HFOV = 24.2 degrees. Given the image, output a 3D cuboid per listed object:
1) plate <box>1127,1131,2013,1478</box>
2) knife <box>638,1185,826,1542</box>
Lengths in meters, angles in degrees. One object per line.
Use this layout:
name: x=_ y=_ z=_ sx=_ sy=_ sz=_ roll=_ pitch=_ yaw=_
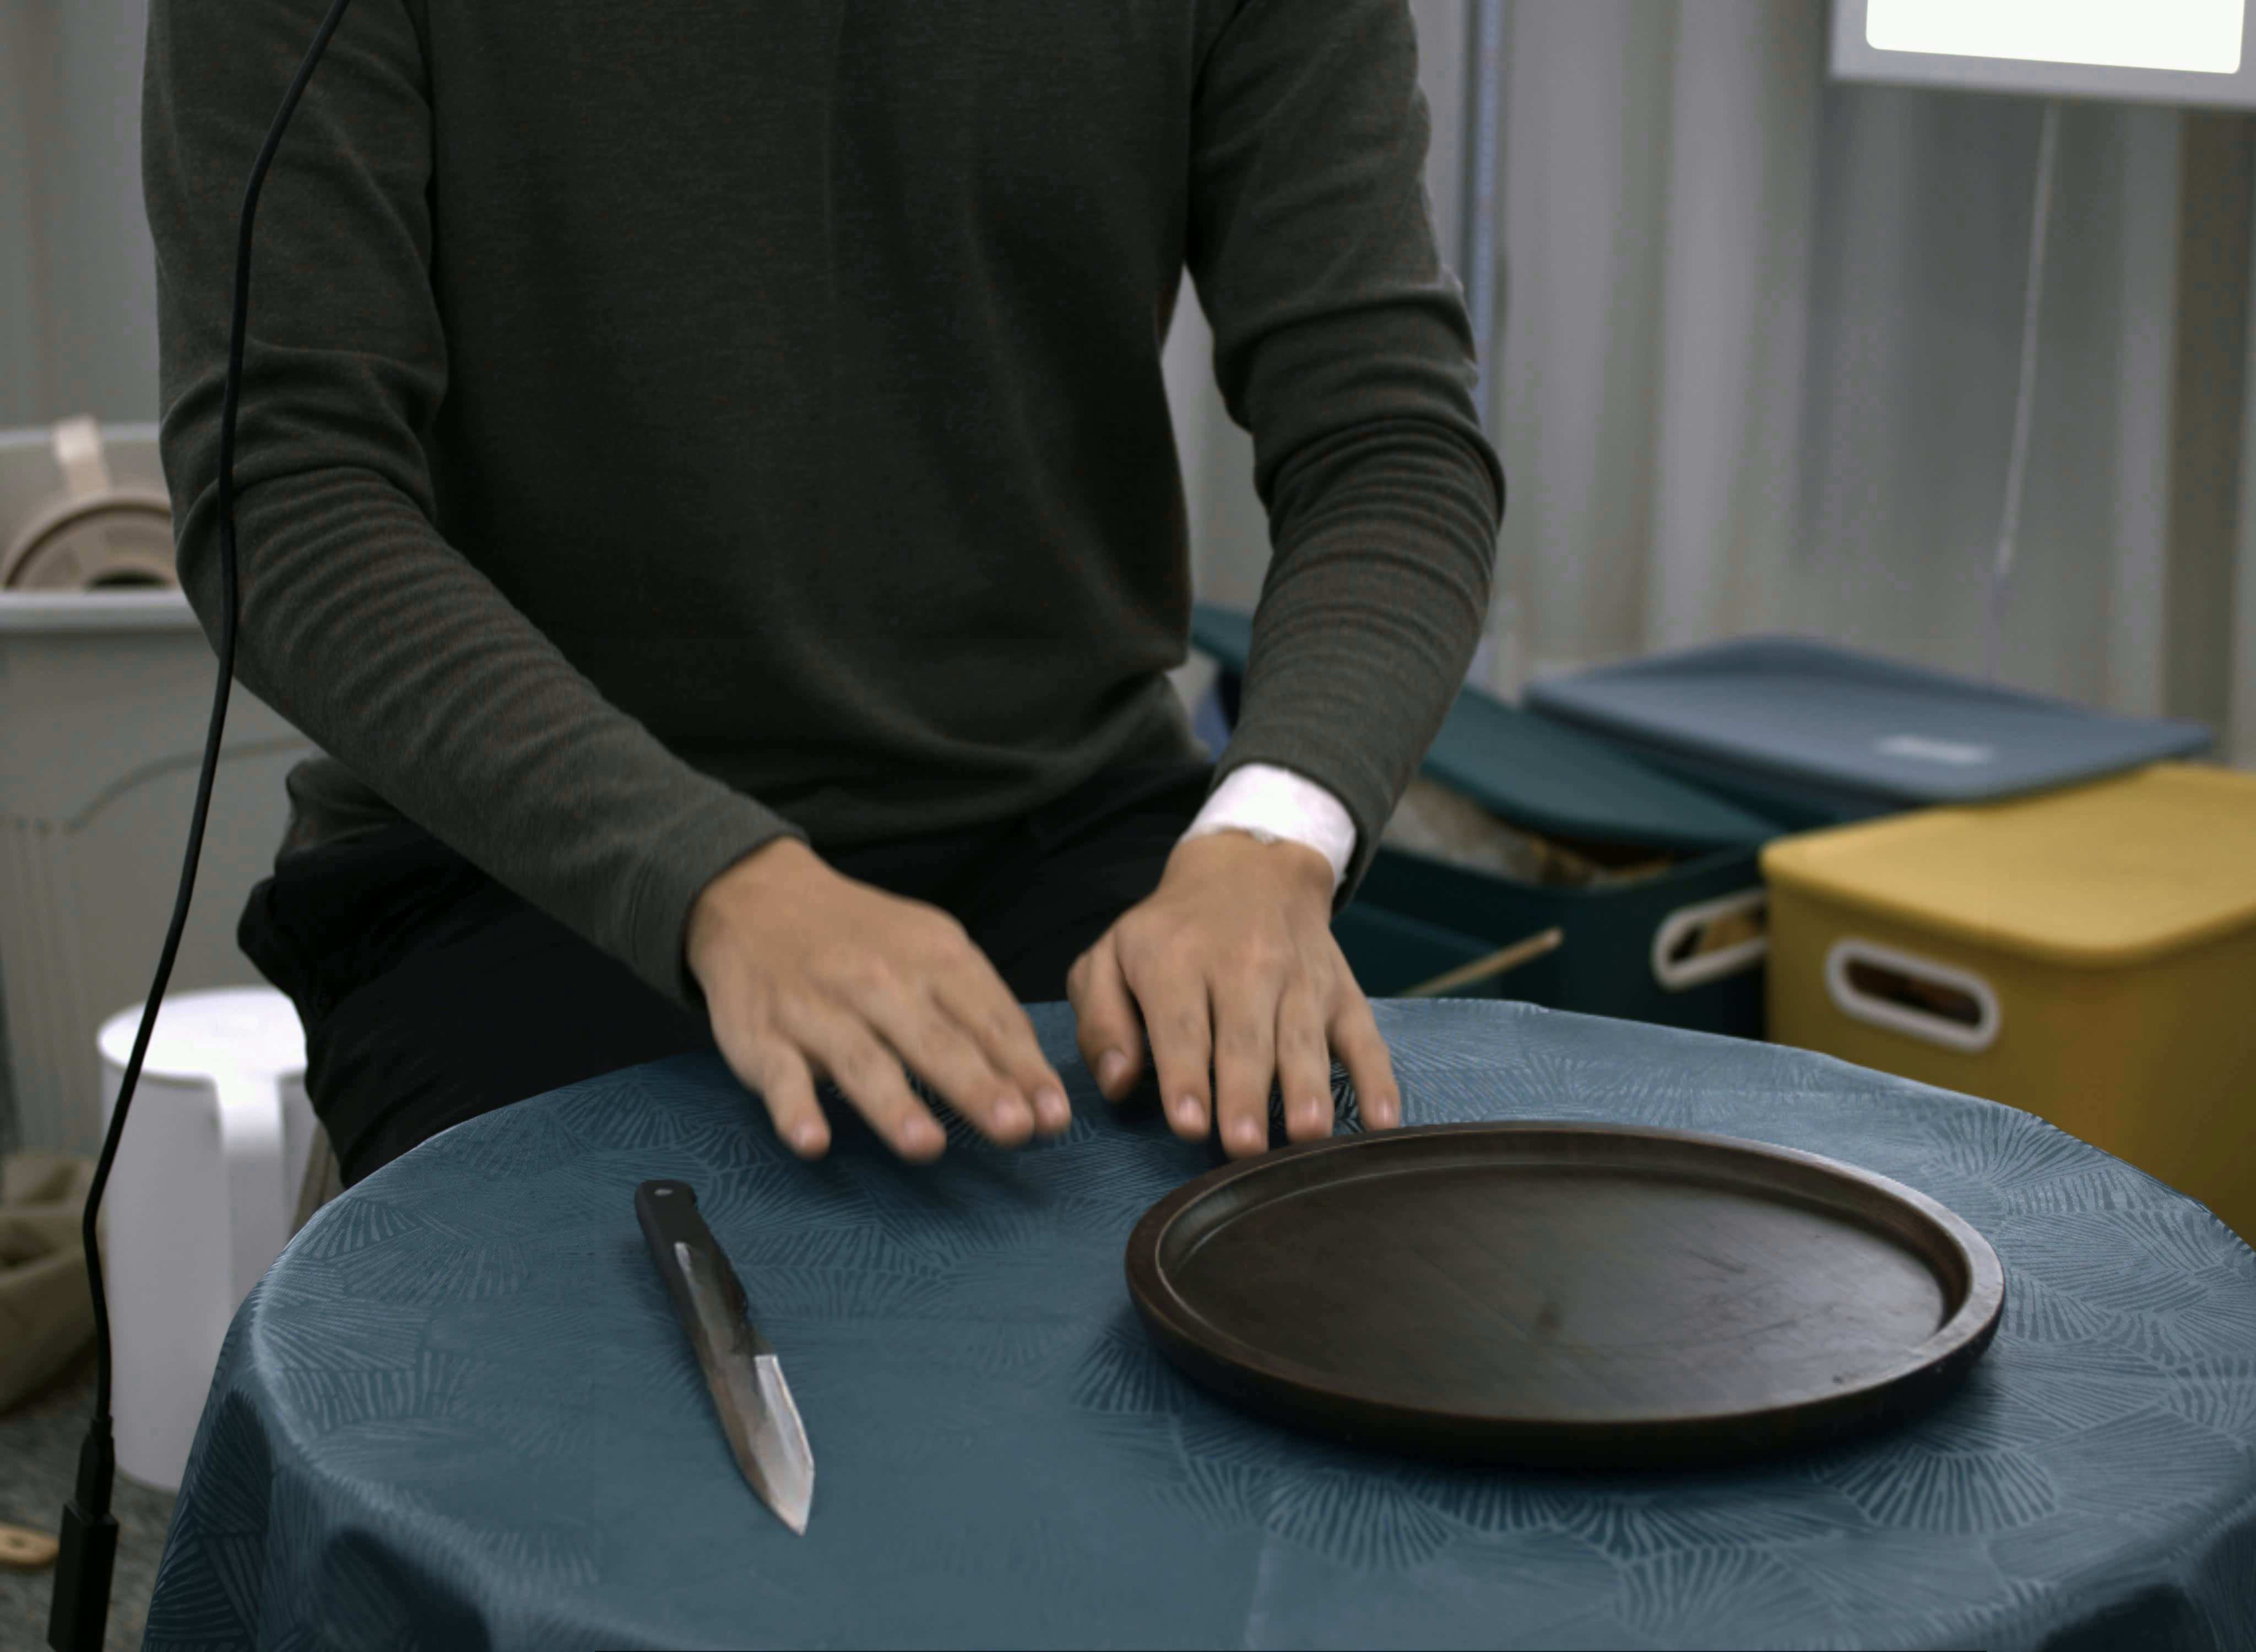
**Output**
plate: x=0.125 y=0.133 z=1.510 sx=0.254 sy=0.029 sz=0.253 roll=2 pitch=16 yaw=0
knife: x=-0.112 y=0.149 z=1.468 sx=0.024 sy=0.016 sz=0.236 roll=-4 pitch=19 yaw=-14
